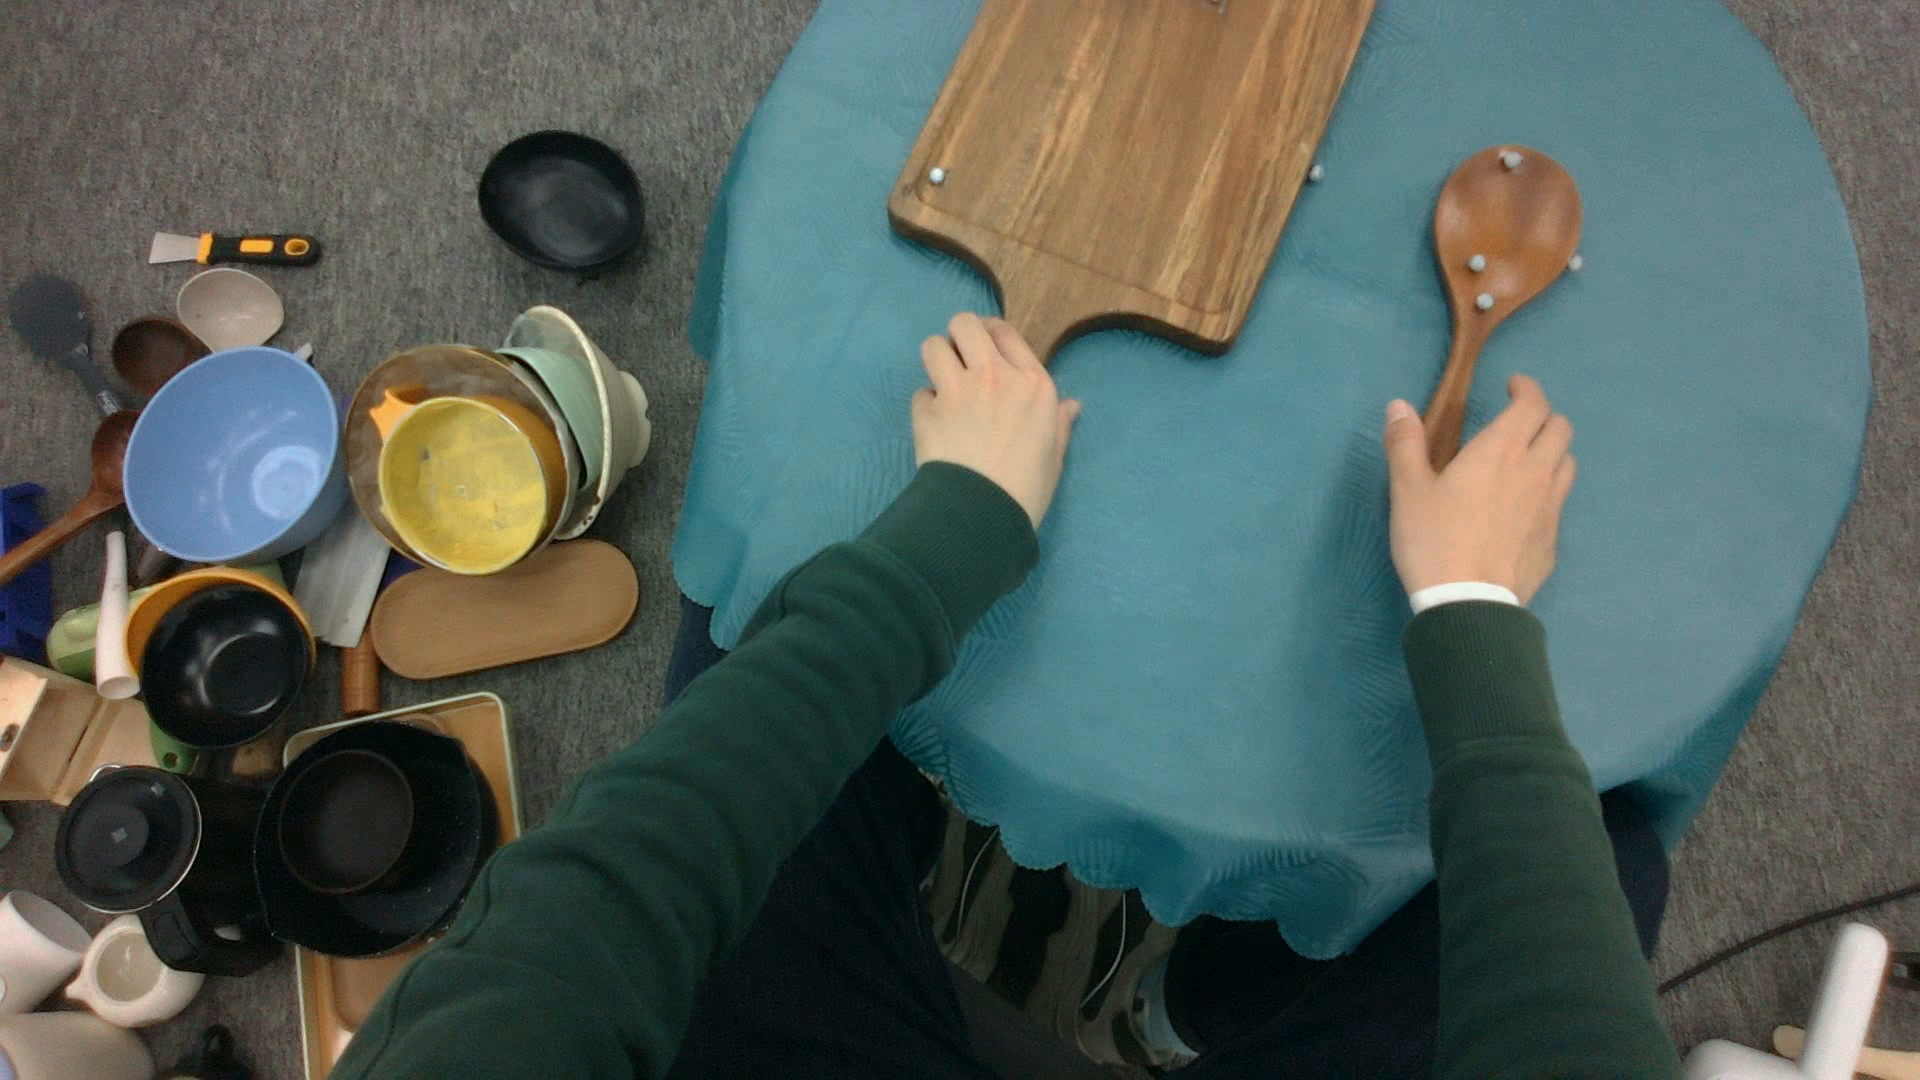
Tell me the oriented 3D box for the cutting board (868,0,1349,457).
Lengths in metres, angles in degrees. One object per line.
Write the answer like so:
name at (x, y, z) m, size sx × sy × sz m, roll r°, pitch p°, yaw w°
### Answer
cutting board at (0.068, -0.202, 0.736) m, size 0.201 × 0.023 × 0.353 m, roll 22°, pitch 75°, yaw 5°

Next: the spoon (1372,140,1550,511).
spoon at (0.250, -0.113, 0.709) m, size 0.075 × 0.017 × 0.216 m, roll 20°, pitch 74°, yaw 4°
